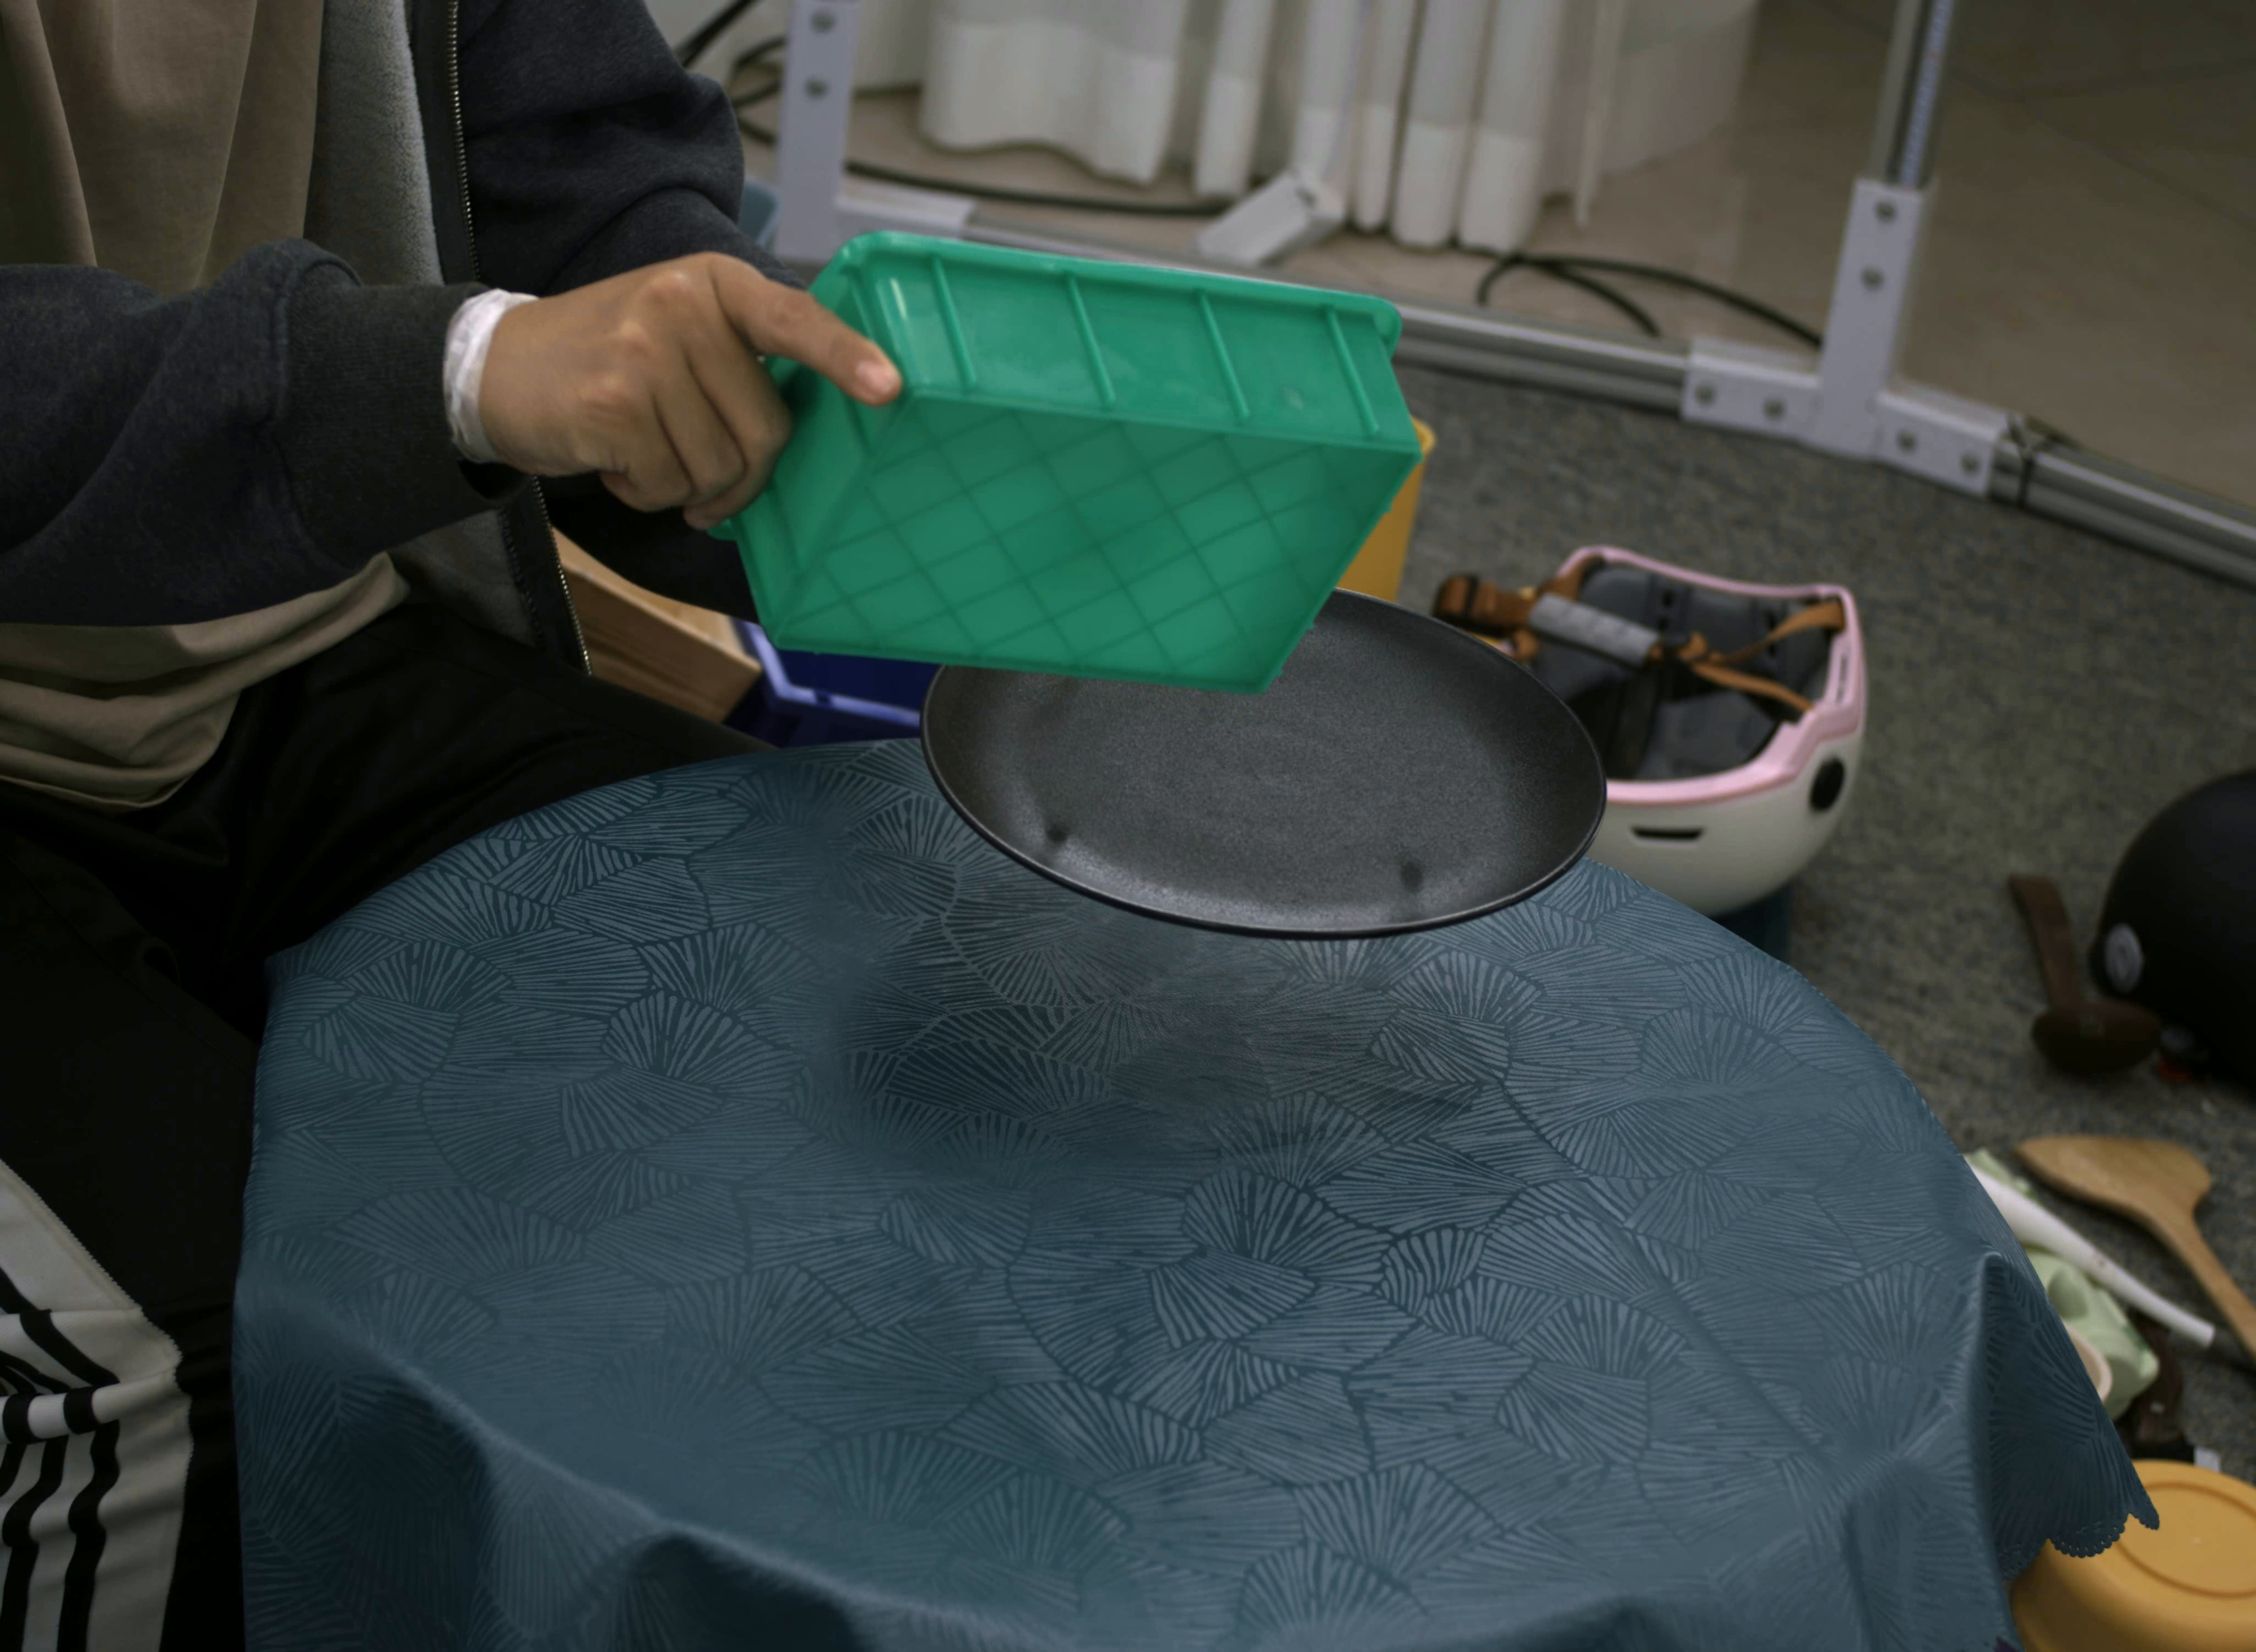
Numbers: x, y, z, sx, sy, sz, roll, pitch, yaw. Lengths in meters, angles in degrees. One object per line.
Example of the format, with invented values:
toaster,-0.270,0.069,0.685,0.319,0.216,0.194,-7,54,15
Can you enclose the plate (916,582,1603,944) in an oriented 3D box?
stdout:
plate,0.046,-0.020,1.876,0.243,0.023,0.246,4,32,-3

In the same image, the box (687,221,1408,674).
box,-0.021,-0.112,1.672,0.209,0.138,0.066,2,49,-32
